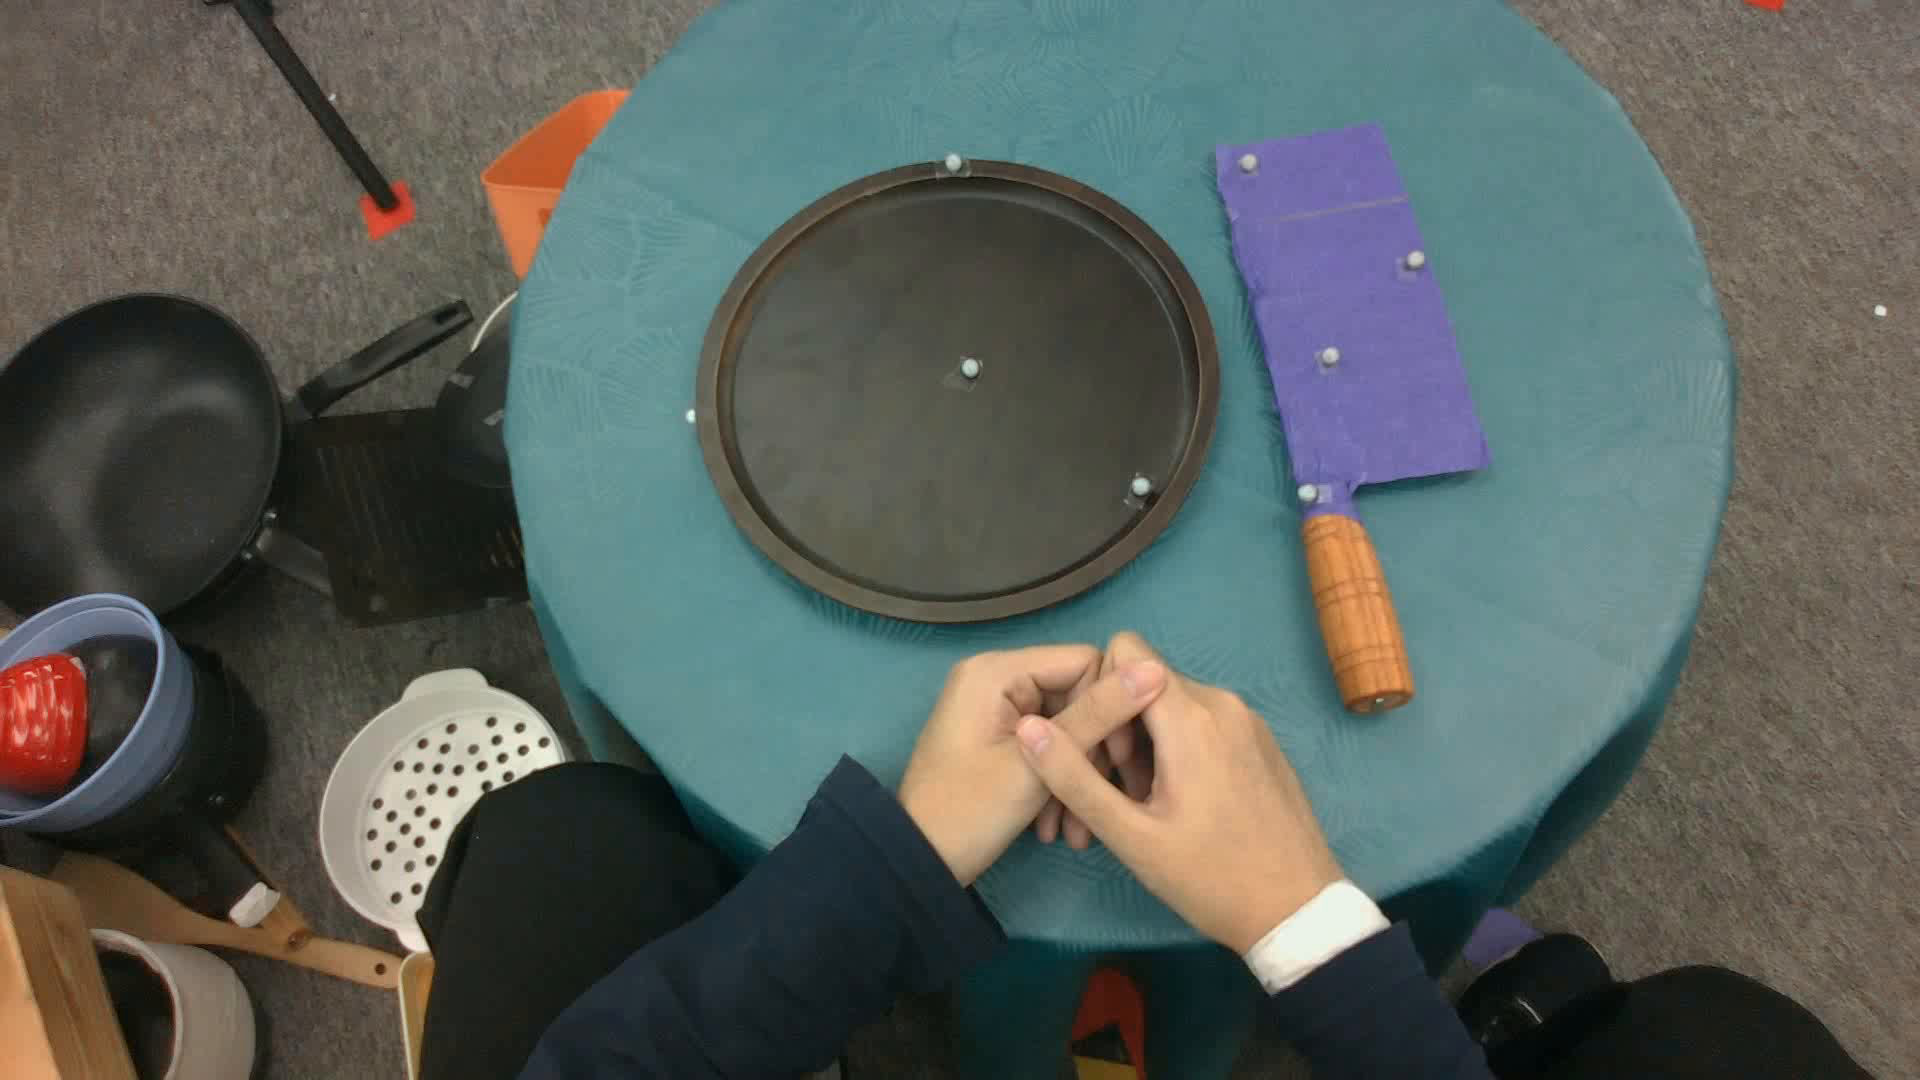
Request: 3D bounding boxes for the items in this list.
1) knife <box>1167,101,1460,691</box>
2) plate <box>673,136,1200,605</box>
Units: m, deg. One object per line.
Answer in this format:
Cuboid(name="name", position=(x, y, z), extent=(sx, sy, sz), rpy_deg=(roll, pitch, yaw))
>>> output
Cuboid(name="knife", position=(0.182, -0.086, 0.655), extent=(0.104, 0.032, 0.316), rpy_deg=(-9, 67, -1))
Cuboid(name="plate", position=(-0.012, -0.086, 0.666), extent=(0.255, 0.029, 0.255), rpy_deg=(-1, 66, 3))
